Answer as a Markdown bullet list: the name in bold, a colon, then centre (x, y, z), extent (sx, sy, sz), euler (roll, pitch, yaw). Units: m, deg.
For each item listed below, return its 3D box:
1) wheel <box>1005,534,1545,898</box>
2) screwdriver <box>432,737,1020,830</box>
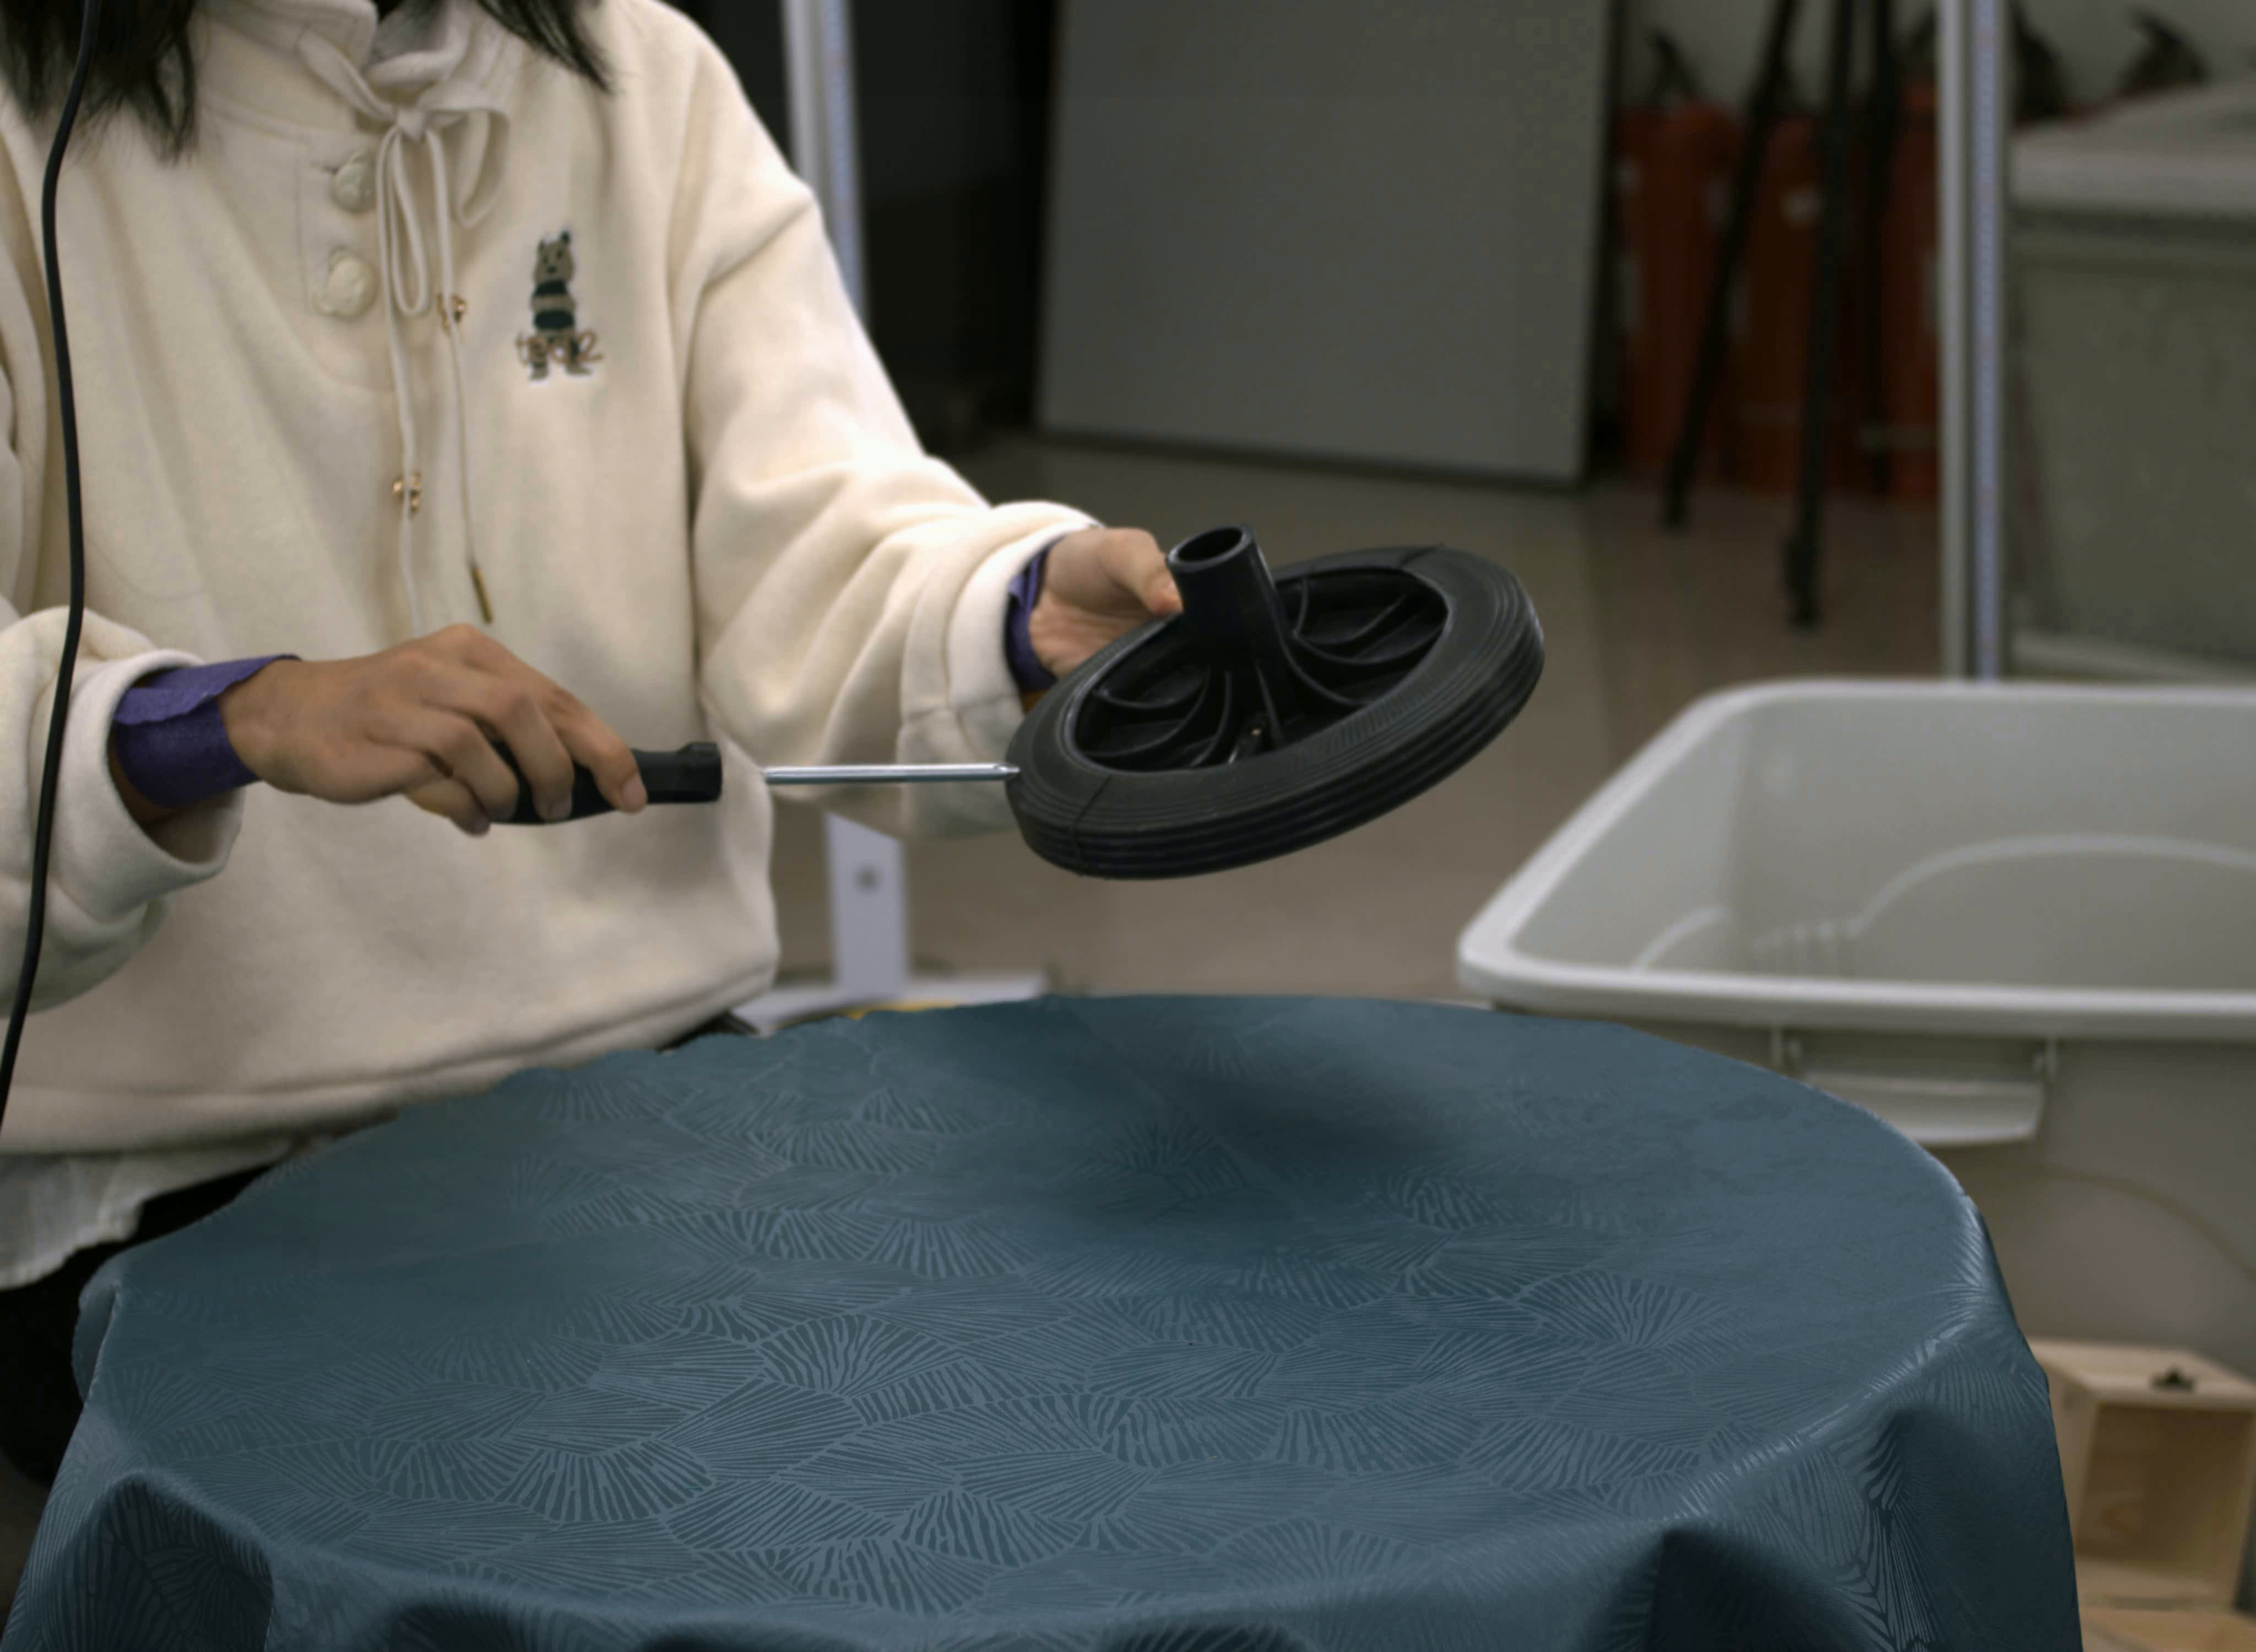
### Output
- **wheel**: centre (0.041, -0.054, 1.786), extent (0.186, 0.079, 0.191), euler (-22, 26, 3)
- **screwdriver**: centre (-0.132, -0.017, 1.784), extent (0.192, 0.032, 0.031), euler (-3, 13, -11)
